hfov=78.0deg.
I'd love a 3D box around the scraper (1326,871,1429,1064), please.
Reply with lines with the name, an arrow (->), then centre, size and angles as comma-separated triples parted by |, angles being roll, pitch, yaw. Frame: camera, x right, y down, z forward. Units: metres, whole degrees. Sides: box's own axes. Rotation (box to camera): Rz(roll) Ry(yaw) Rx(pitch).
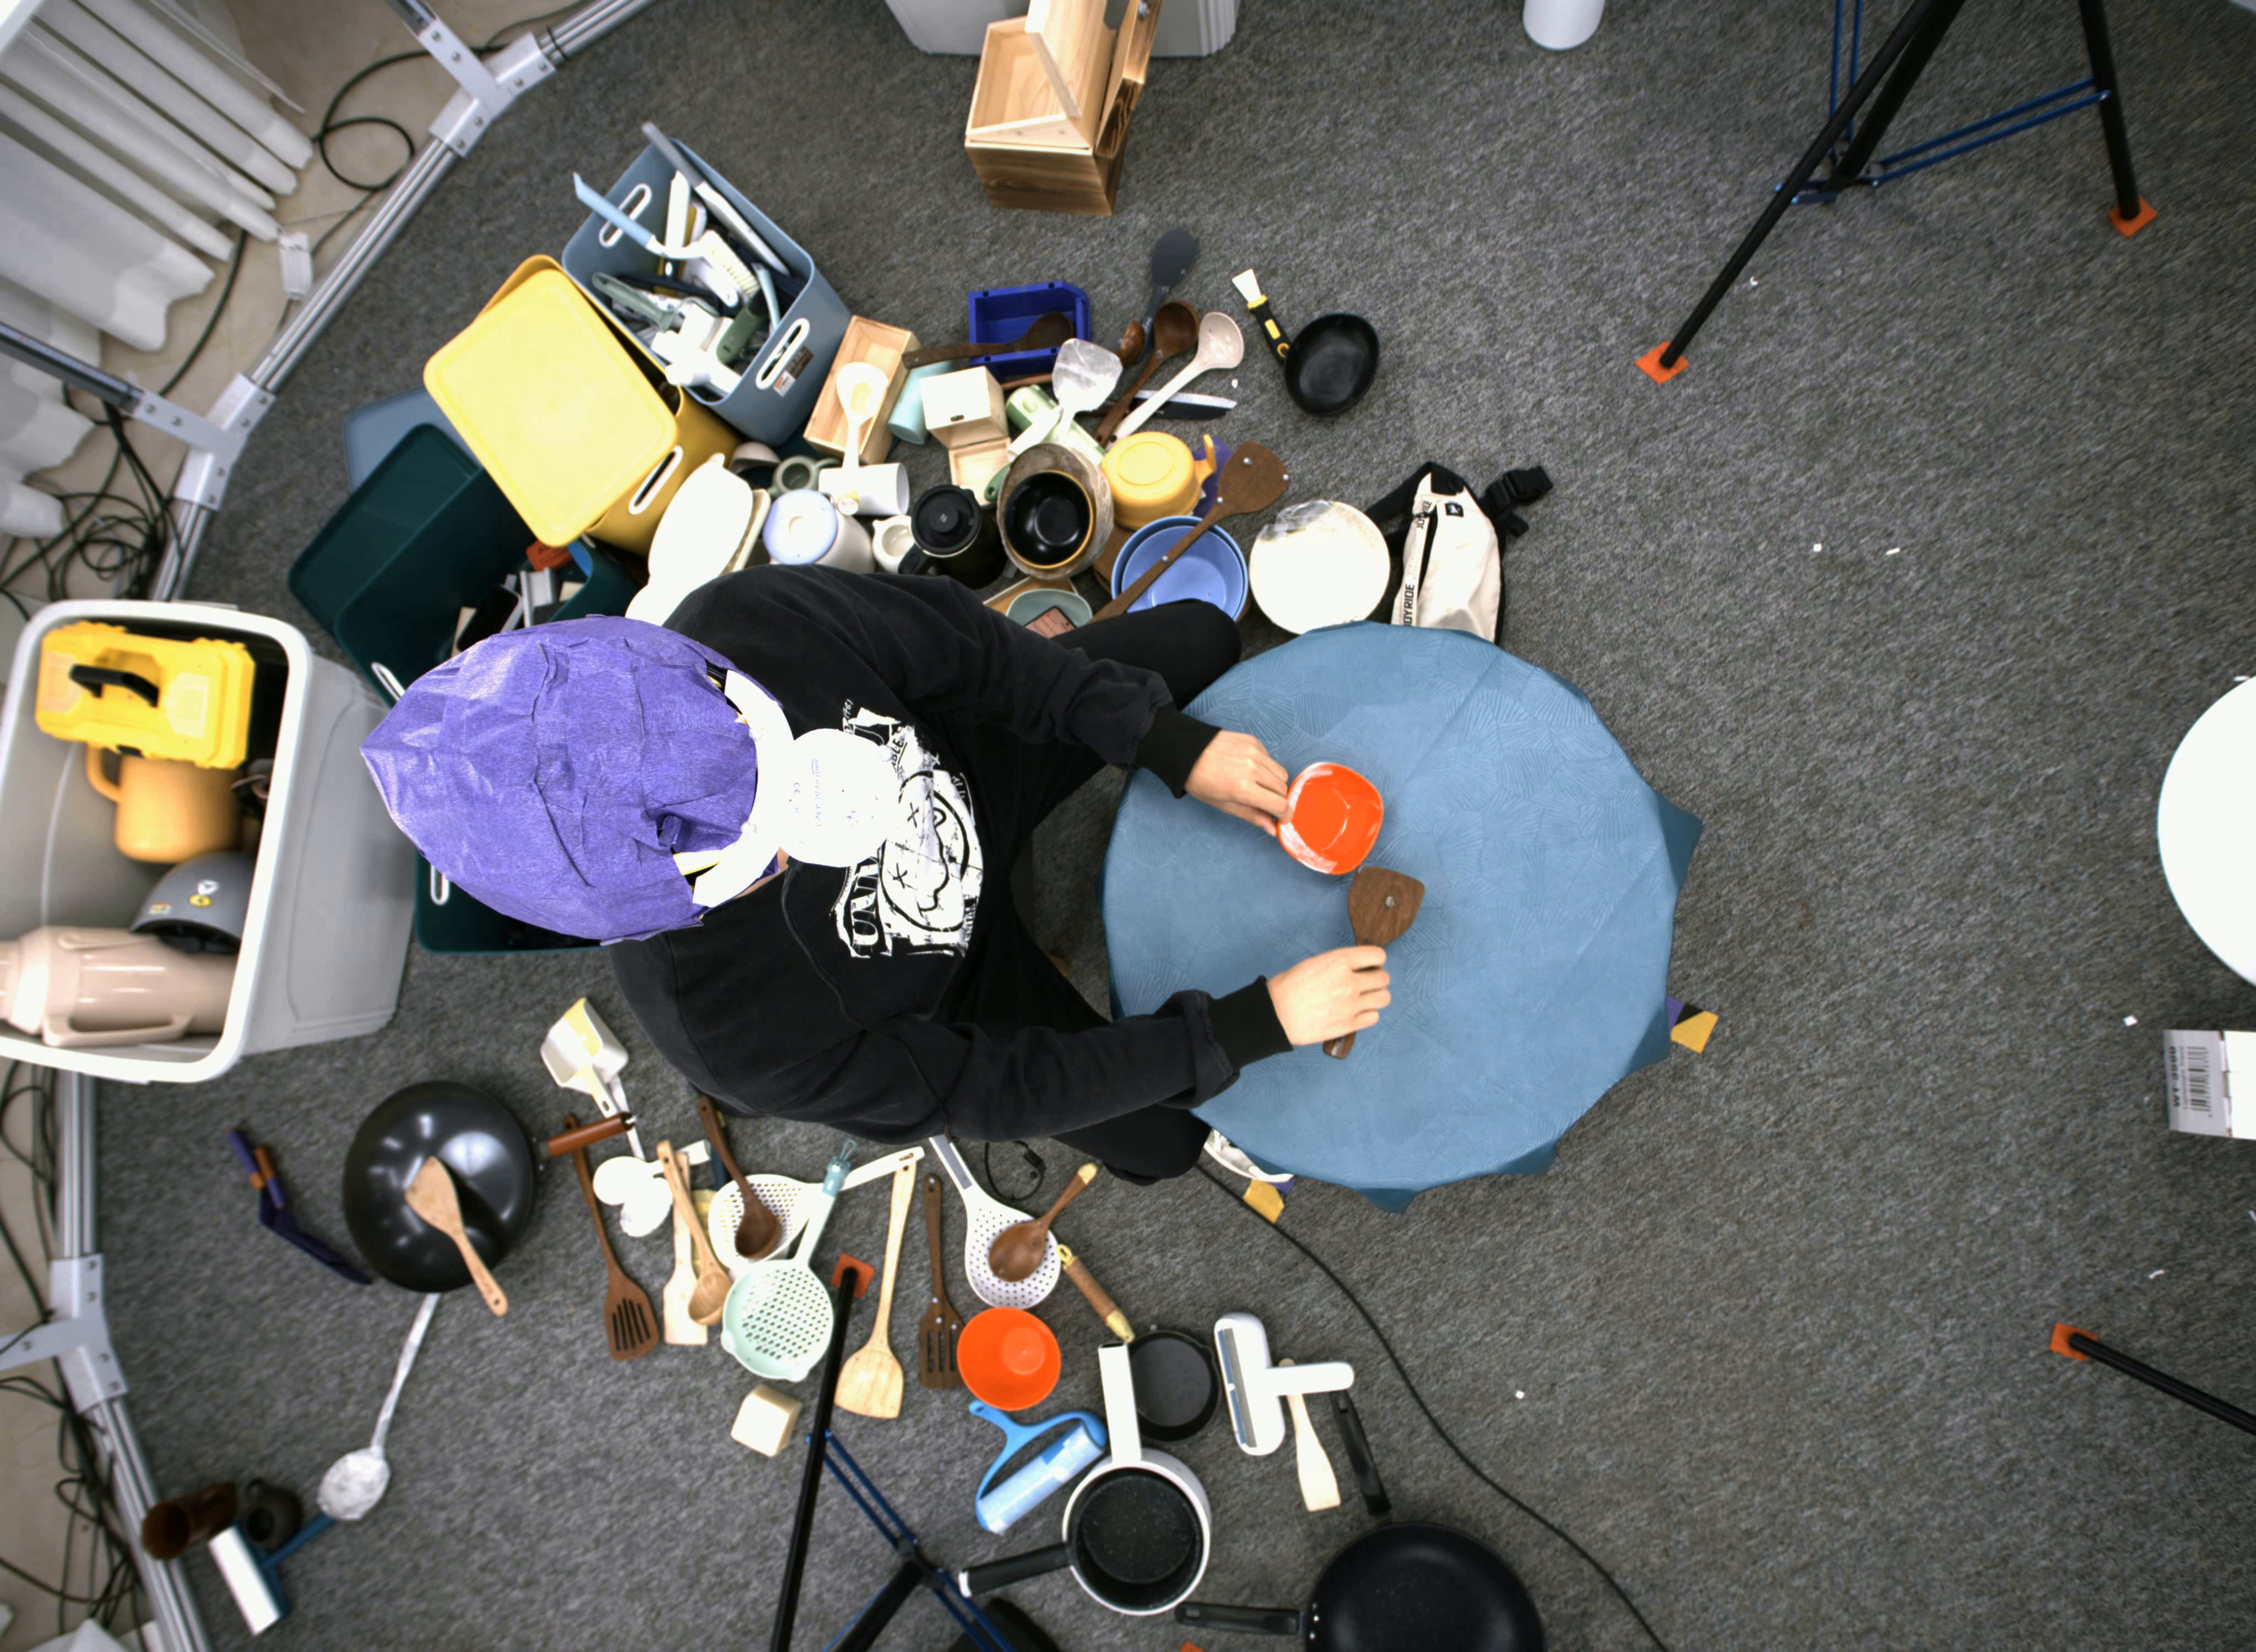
scraper -> 0.238, 0.139, 1.371 | 0.076, 0.011, 0.207 | 18, 65, 12

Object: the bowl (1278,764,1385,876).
bowl -> 0.205, -0.008, 1.444 | 0.118, 0.051, 0.119 | -1, 95, -15
